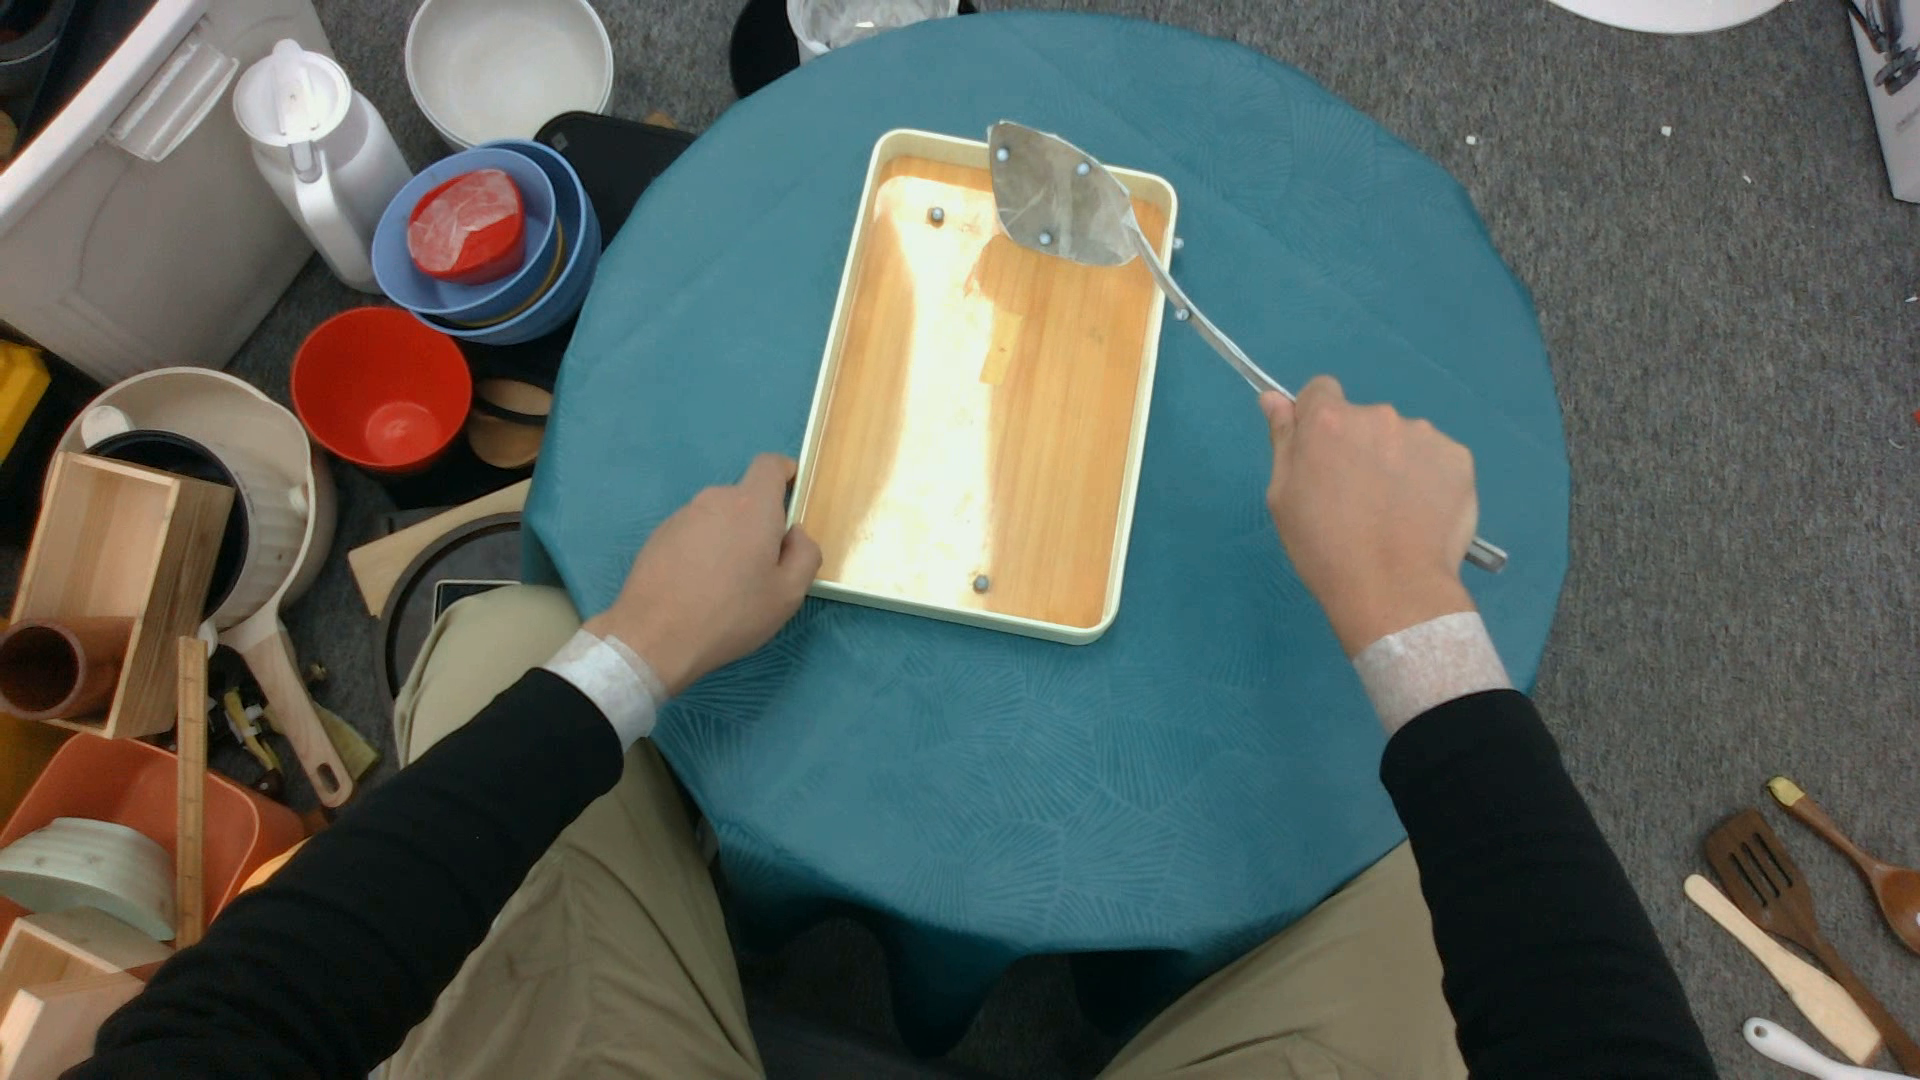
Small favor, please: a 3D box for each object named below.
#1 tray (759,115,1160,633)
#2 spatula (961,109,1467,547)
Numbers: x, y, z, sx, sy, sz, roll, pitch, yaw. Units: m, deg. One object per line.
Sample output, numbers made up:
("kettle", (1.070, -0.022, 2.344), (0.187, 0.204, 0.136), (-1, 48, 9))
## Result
("tray", (0.006, -0.104, 0.807), (0.191, 0.027, 0.301), (11, 70, 0))
("spatula", (0.123, -0.114, 0.738), (0.045, 0.098, 0.365), (-33, 62, -14))
